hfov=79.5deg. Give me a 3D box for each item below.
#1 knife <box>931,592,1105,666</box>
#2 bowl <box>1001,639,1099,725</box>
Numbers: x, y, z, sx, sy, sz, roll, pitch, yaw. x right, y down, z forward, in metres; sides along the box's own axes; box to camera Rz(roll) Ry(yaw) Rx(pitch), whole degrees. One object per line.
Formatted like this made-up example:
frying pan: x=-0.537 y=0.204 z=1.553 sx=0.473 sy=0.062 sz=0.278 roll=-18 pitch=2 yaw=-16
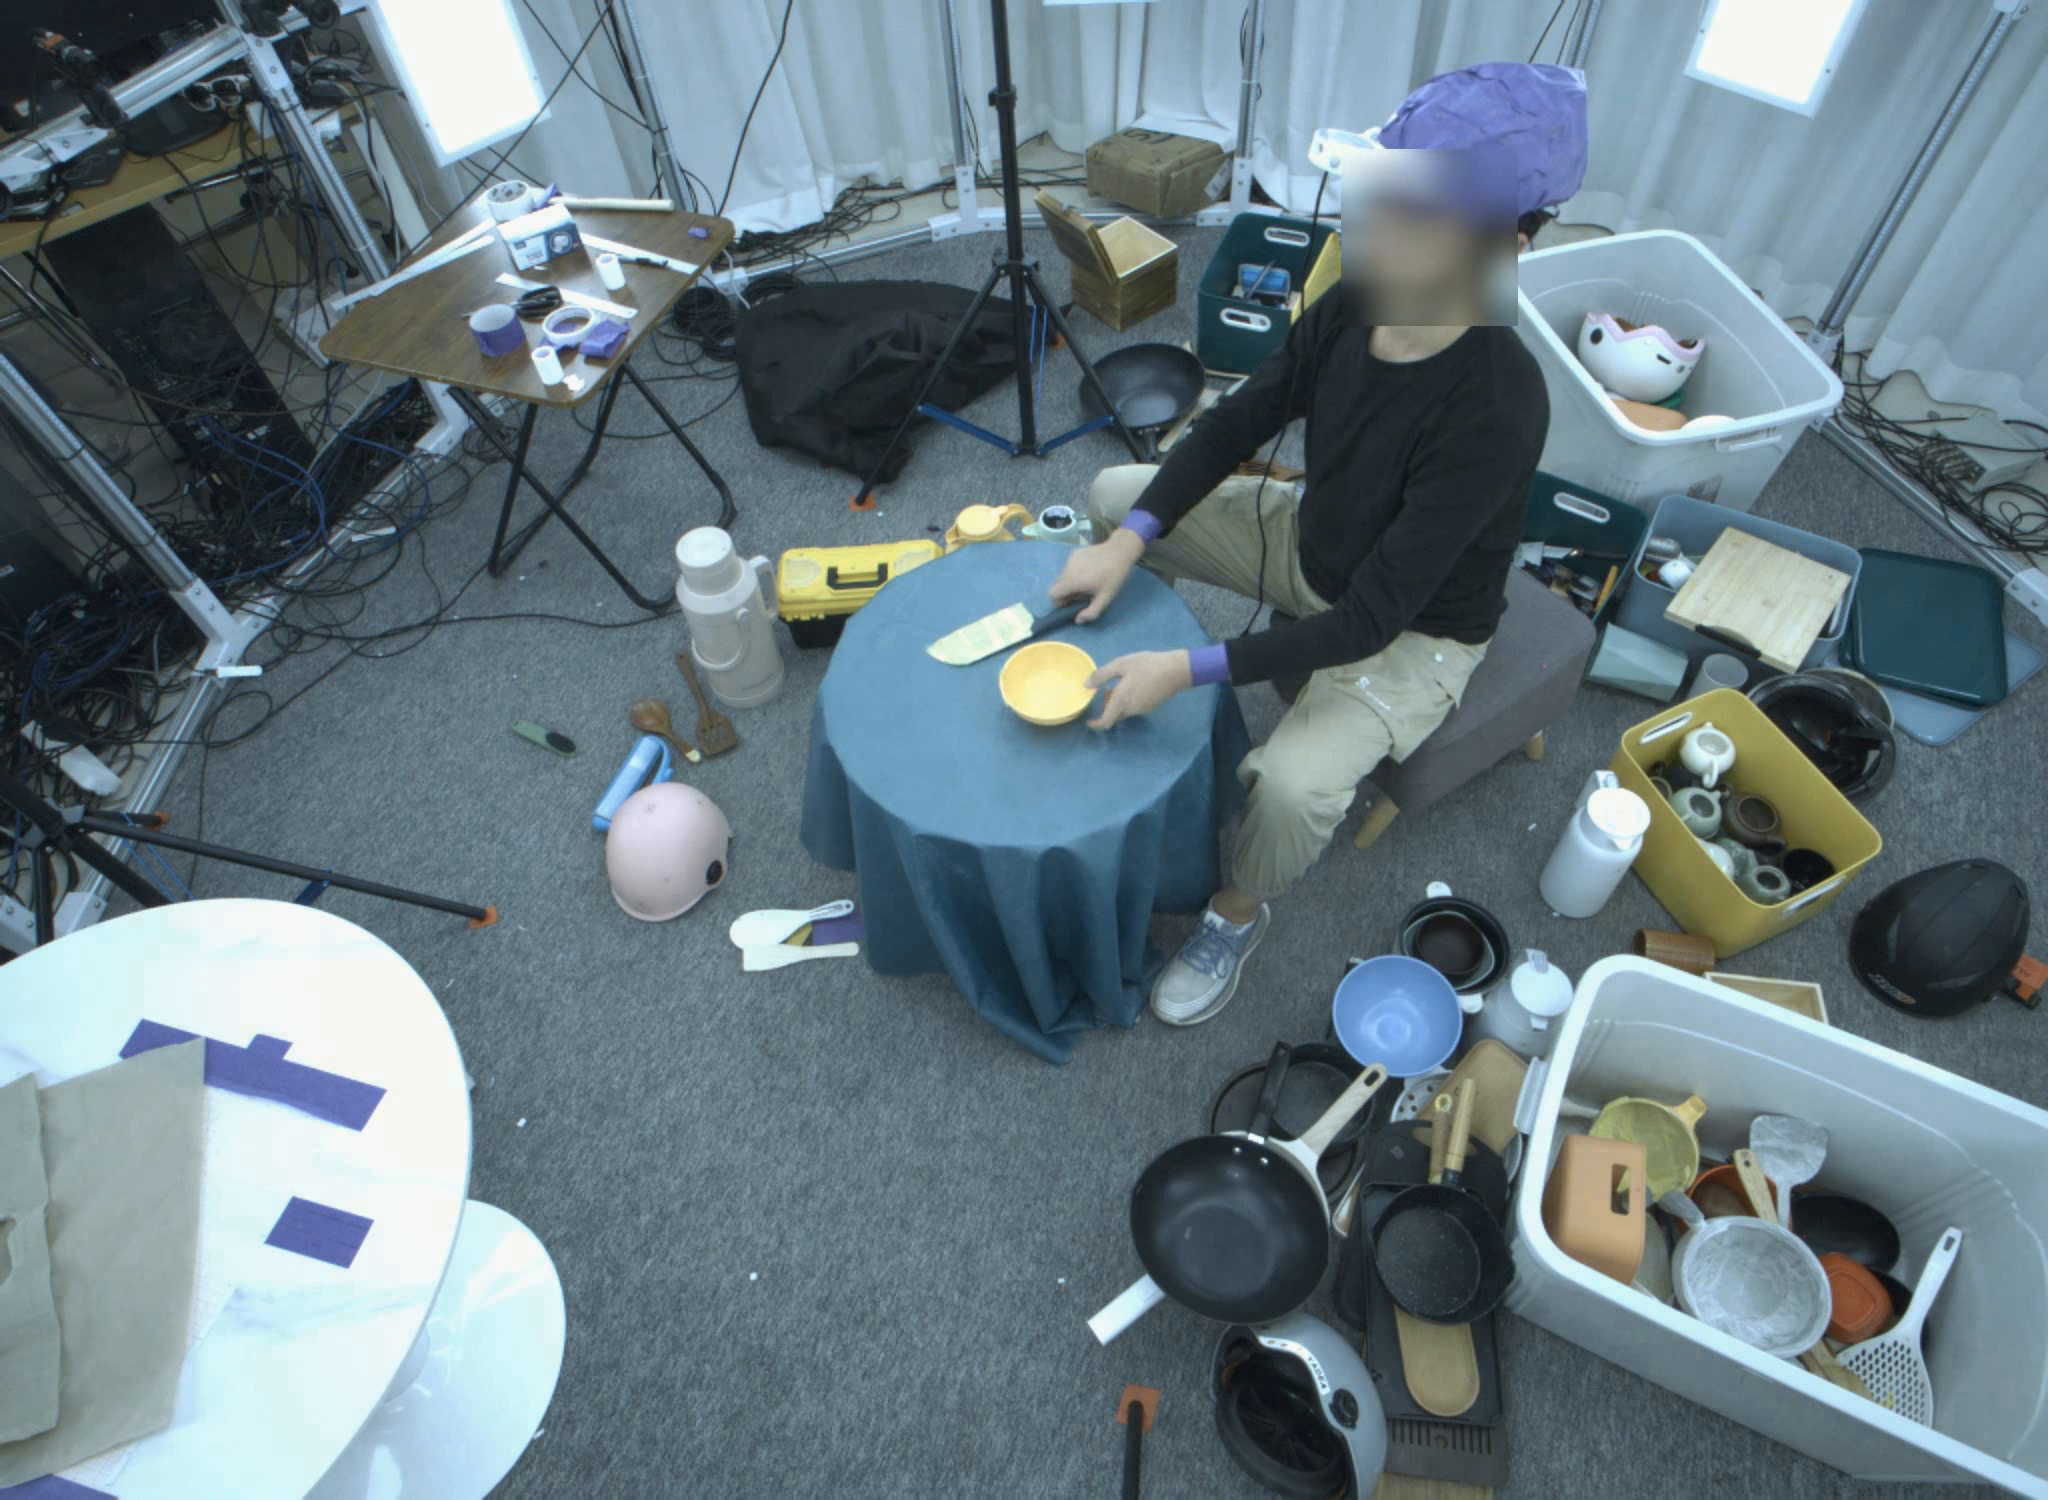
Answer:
knife: x=-0.011 y=-0.196 z=1.915 sx=0.291 sy=0.027 sz=0.079 roll=-21 pitch=57 yaw=-12
bowl: x=0.039 y=-0.089 z=1.809 sx=0.145 sy=0.061 sz=0.144 roll=0 pitch=57 yaw=1
